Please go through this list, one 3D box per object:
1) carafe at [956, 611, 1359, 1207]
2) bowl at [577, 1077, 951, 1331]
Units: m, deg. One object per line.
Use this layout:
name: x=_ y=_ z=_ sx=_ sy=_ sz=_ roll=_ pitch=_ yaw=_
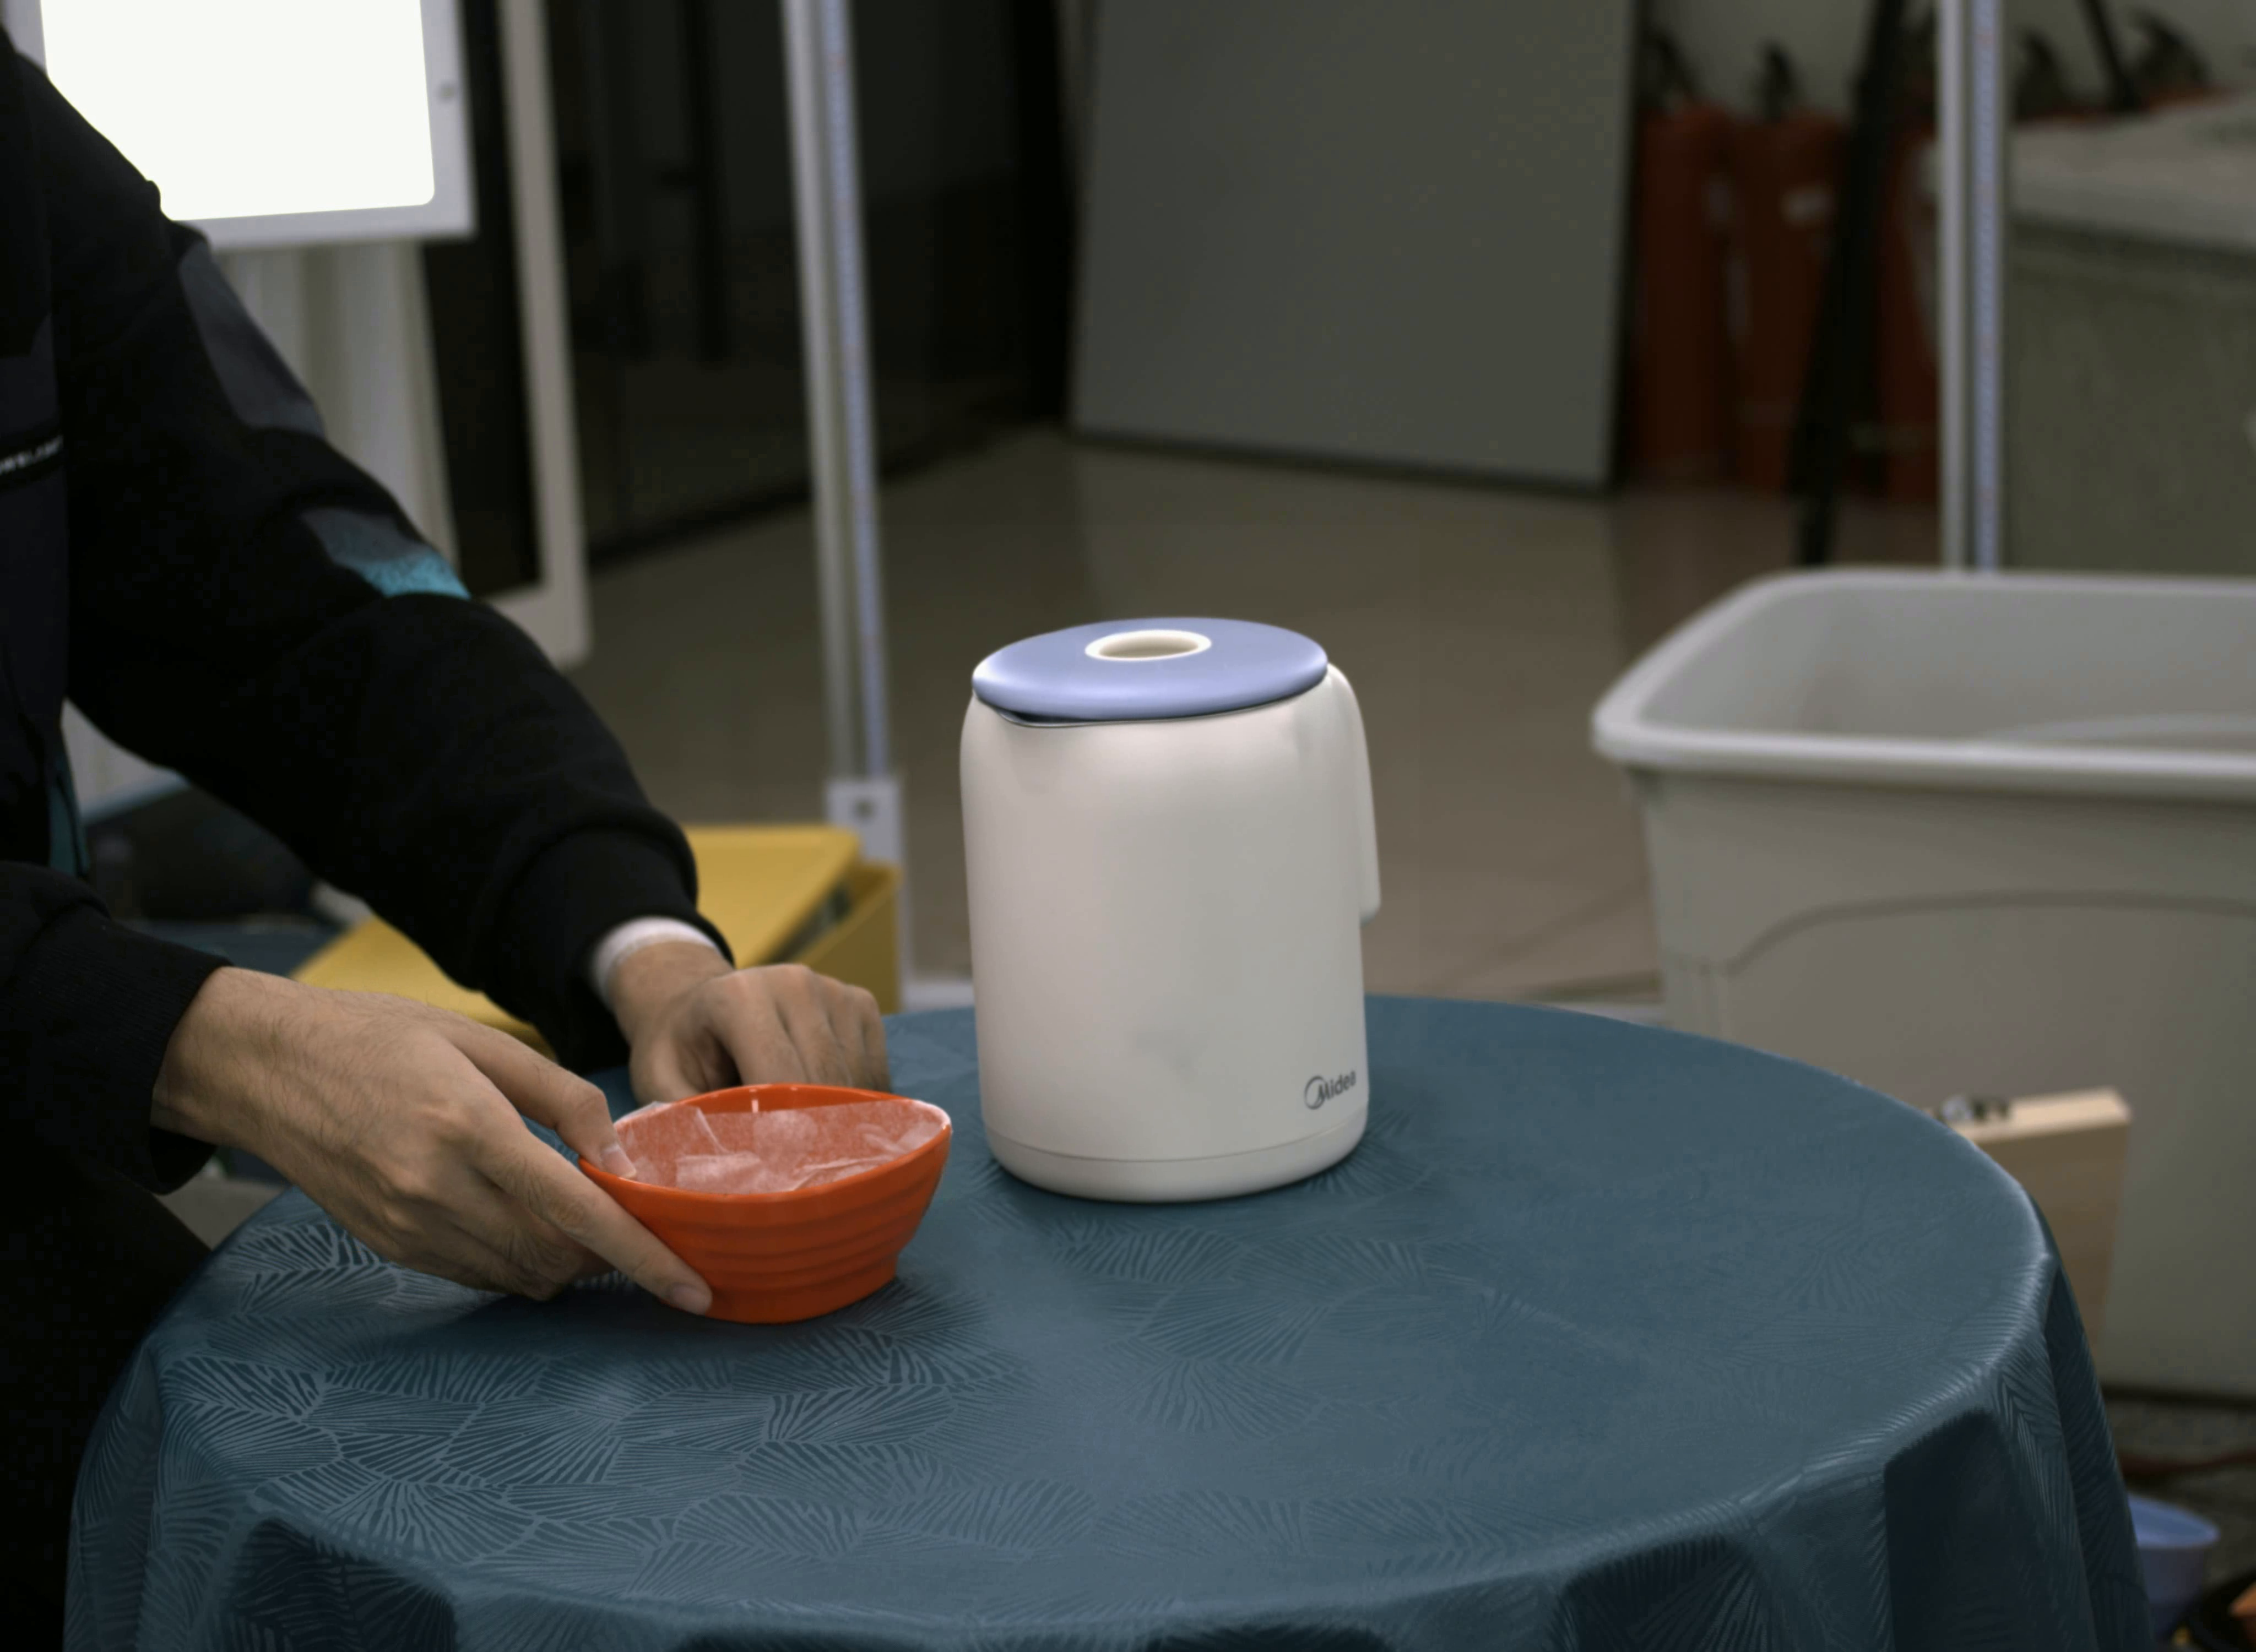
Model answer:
carafe: x=0.024 y=0.022 z=1.810 sx=0.133 sy=0.184 sz=0.187 roll=7 pitch=15 yaw=34
bowl: x=-0.112 y=0.121 z=1.694 sx=0.117 sy=0.052 sz=0.119 roll=-4 pitch=16 yaw=0
